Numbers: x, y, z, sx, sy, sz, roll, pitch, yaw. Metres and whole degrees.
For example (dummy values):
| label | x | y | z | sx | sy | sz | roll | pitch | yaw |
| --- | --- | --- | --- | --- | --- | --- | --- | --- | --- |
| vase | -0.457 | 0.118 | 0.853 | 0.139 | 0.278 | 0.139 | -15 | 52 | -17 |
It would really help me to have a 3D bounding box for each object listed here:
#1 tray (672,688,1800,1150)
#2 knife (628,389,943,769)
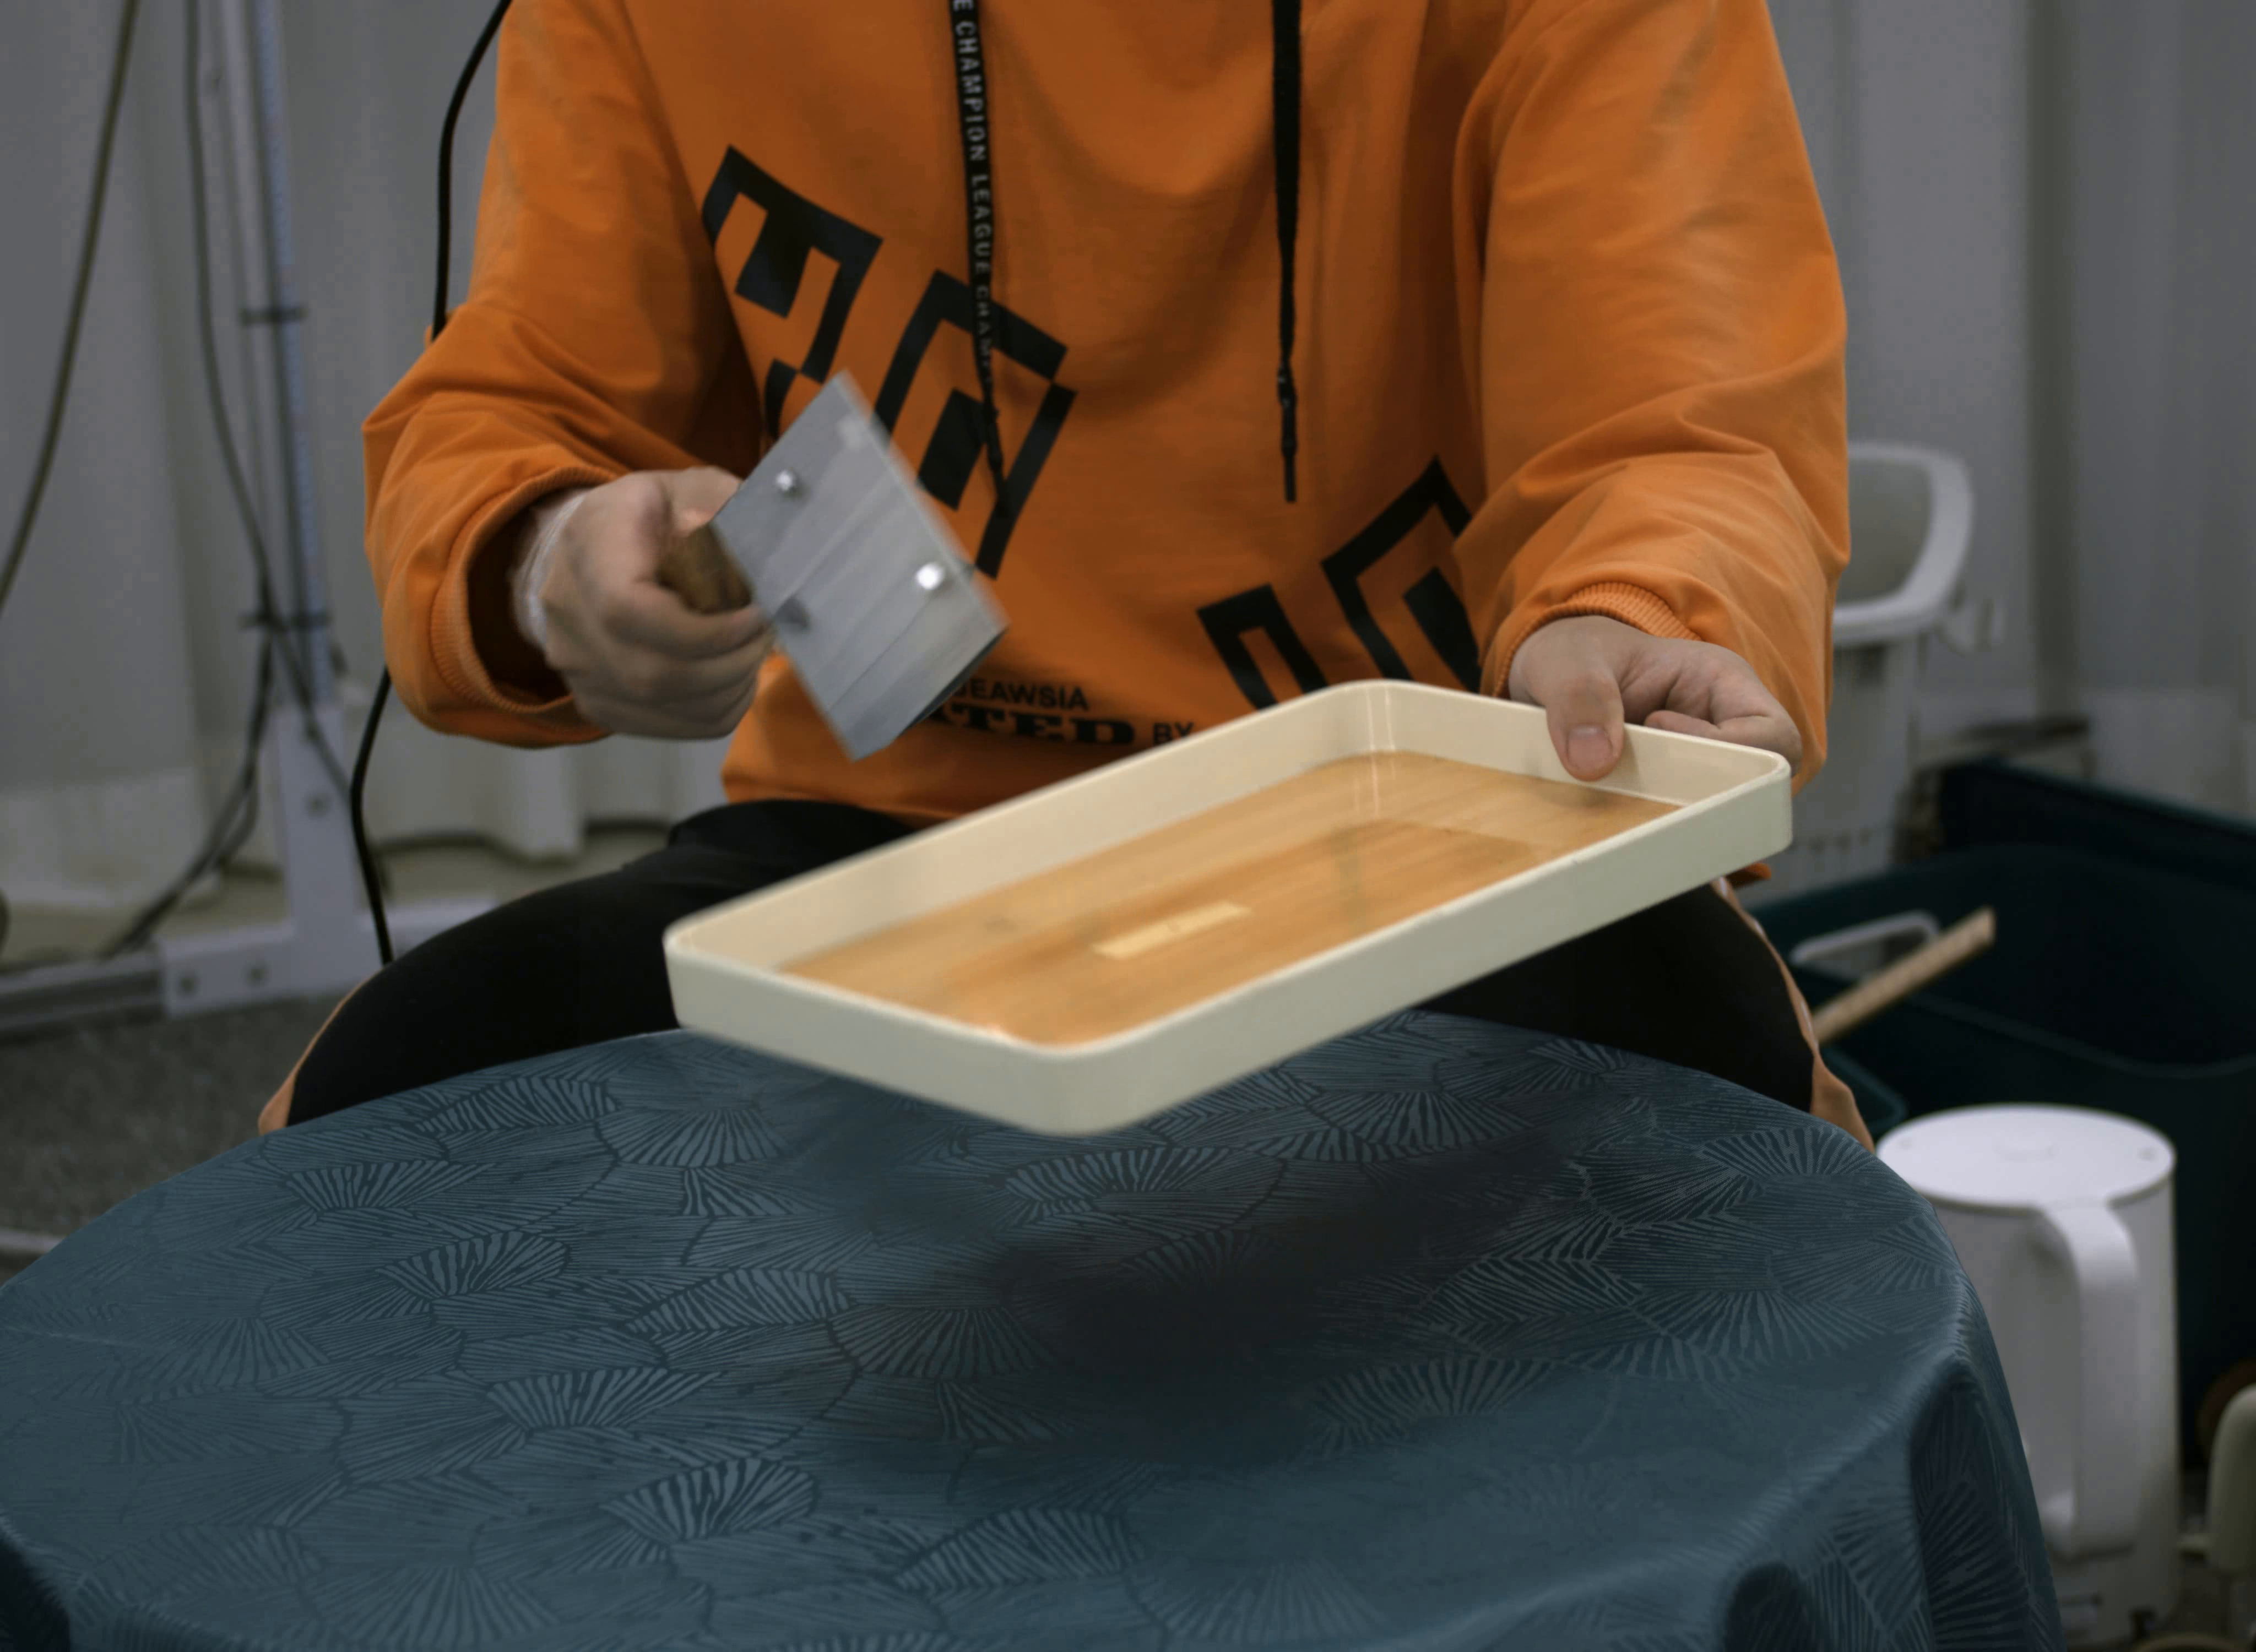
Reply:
| label | x | y | z | sx | sy | sz | roll | pitch | yaw |
| --- | --- | --- | --- | --- | --- | --- | --- | --- | --- |
| tray | 0.035 | 0.022 | 1.597 | 0.300 | 0.027 | 0.192 | -22 | 22 | -38 |
| knife | -0.105 | -0.062 | 1.698 | 0.021 | 0.093 | 0.305 | -33 | -1 | -18 |
